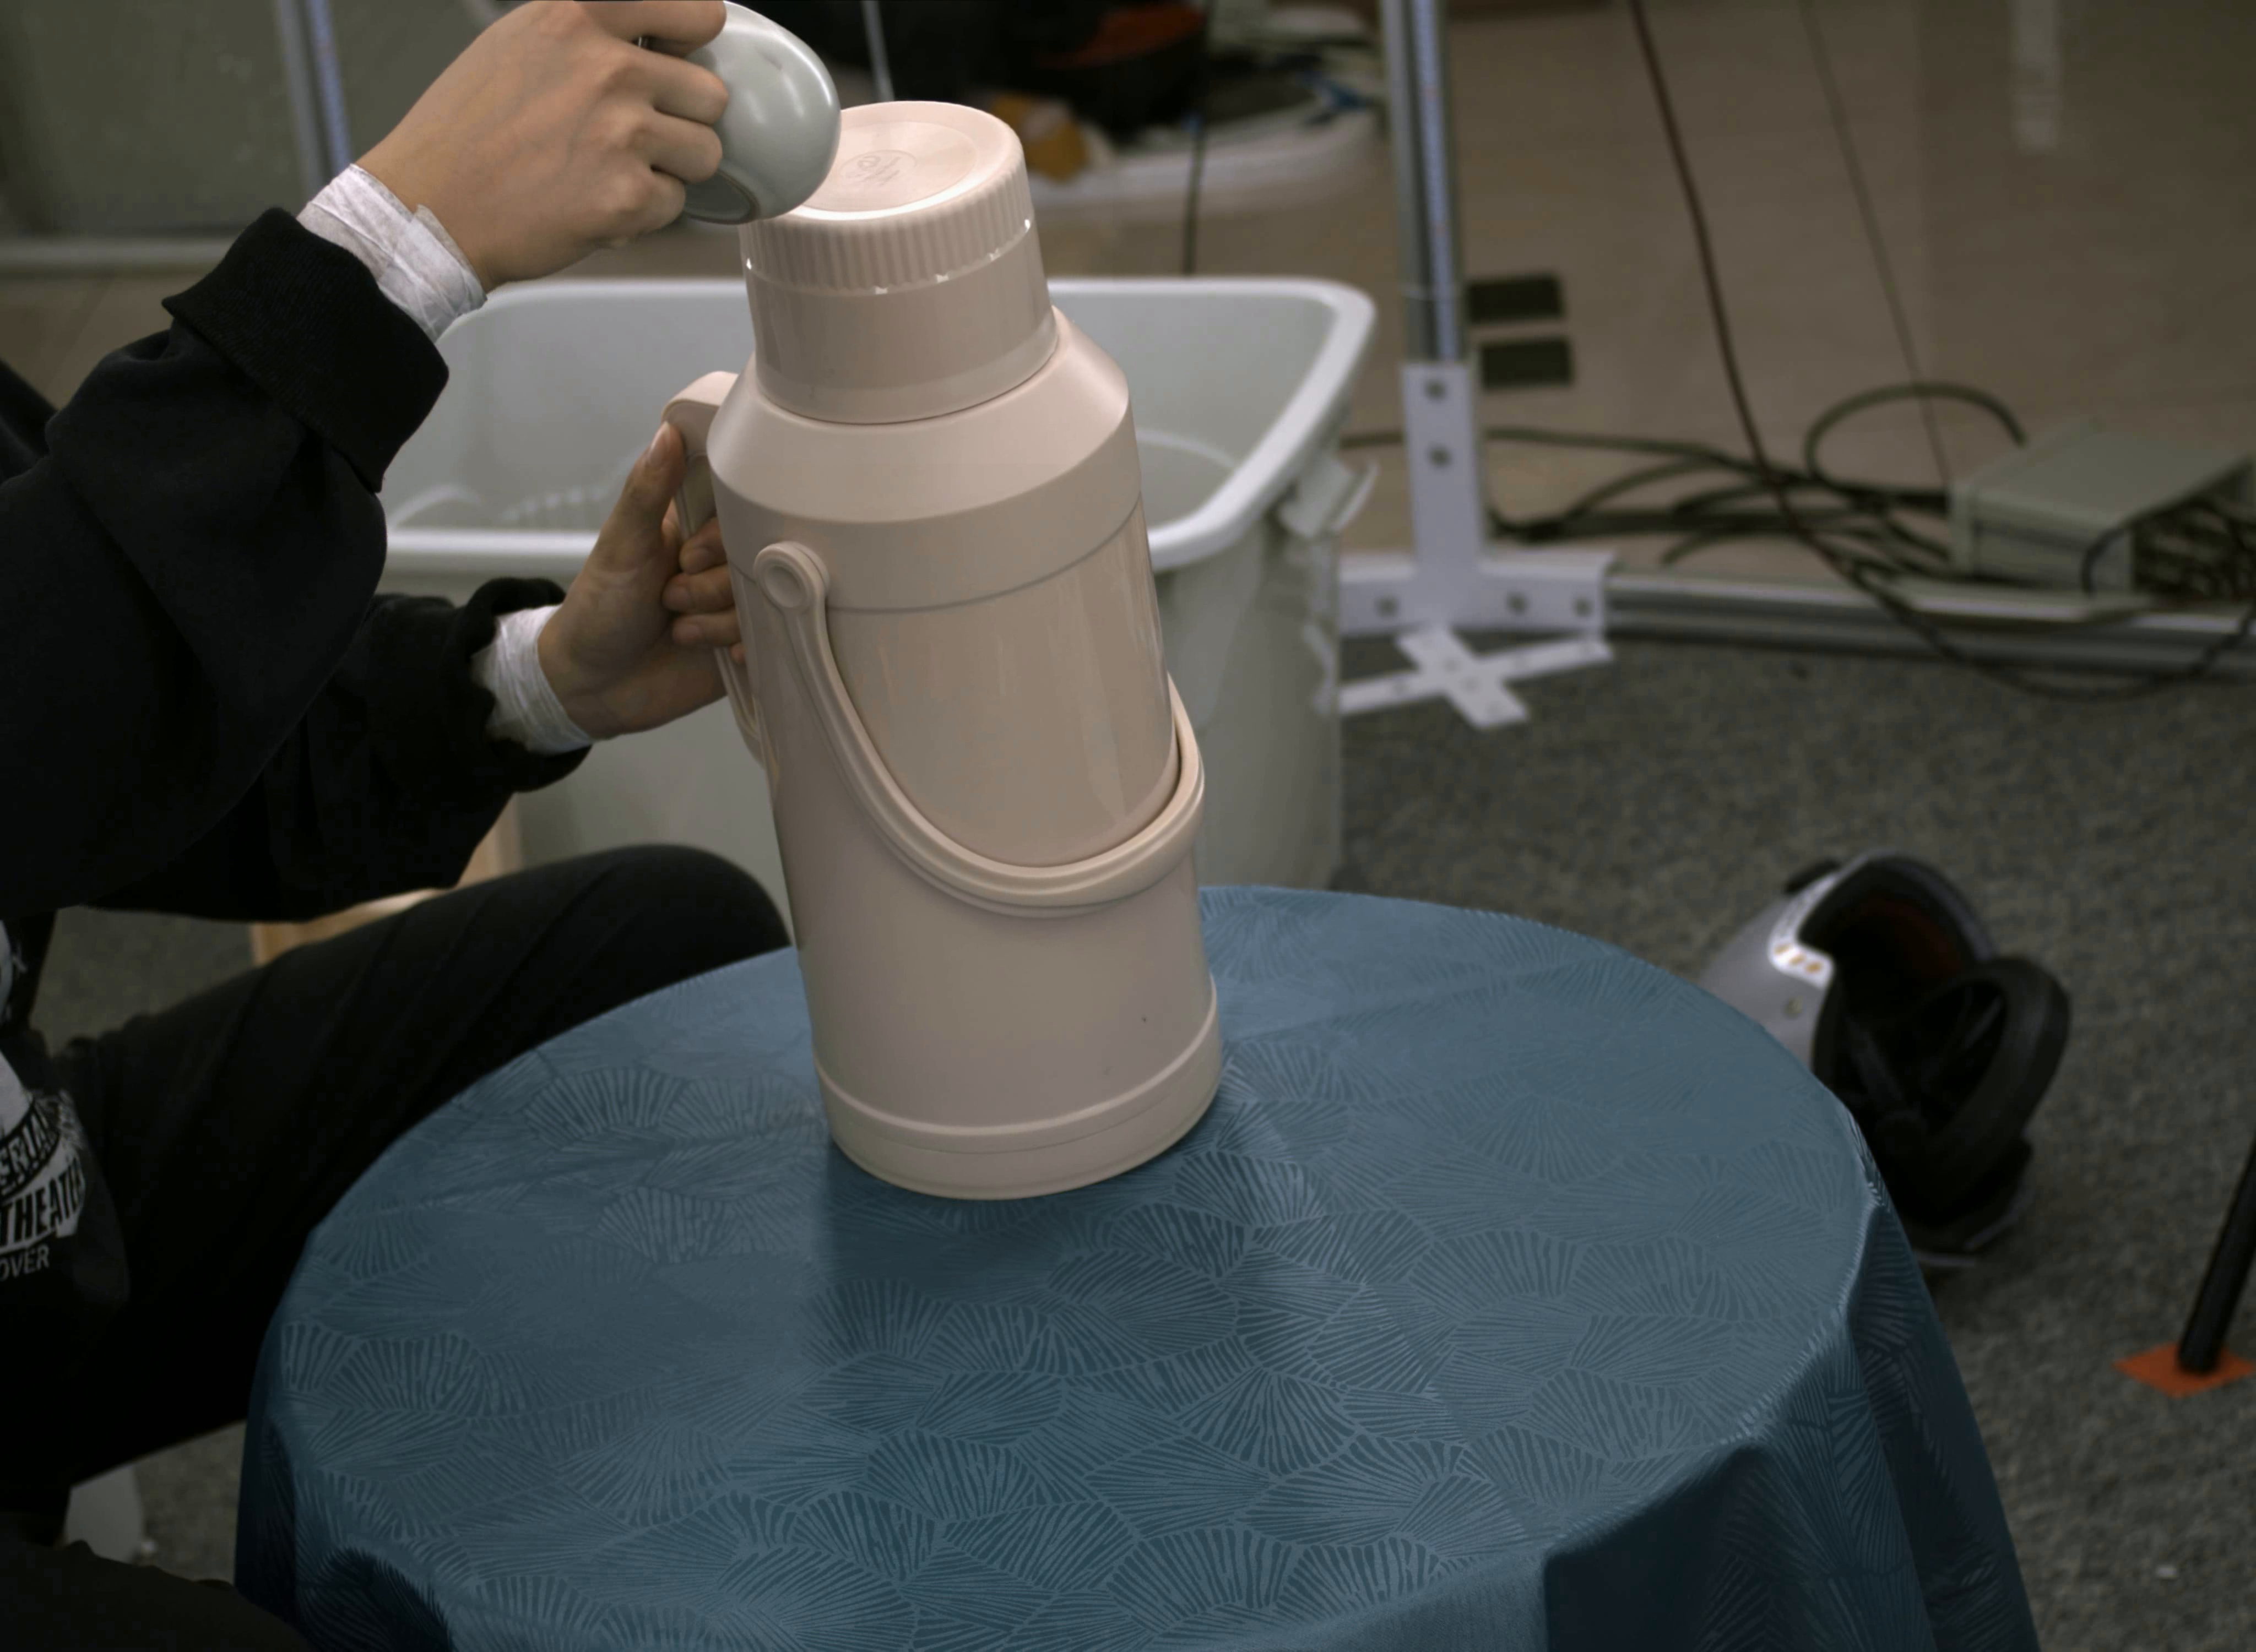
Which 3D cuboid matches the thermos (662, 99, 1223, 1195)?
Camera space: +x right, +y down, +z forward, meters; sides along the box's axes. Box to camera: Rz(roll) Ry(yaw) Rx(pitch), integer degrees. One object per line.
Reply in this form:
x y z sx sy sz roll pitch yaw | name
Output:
-0.075 -0.071 2.120 0.206 0.414 0.173 15 40 31 | thermos

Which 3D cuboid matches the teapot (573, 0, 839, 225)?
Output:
-0.145 -0.246 1.899 0.091 0.129 0.059 19 76 18 | teapot
